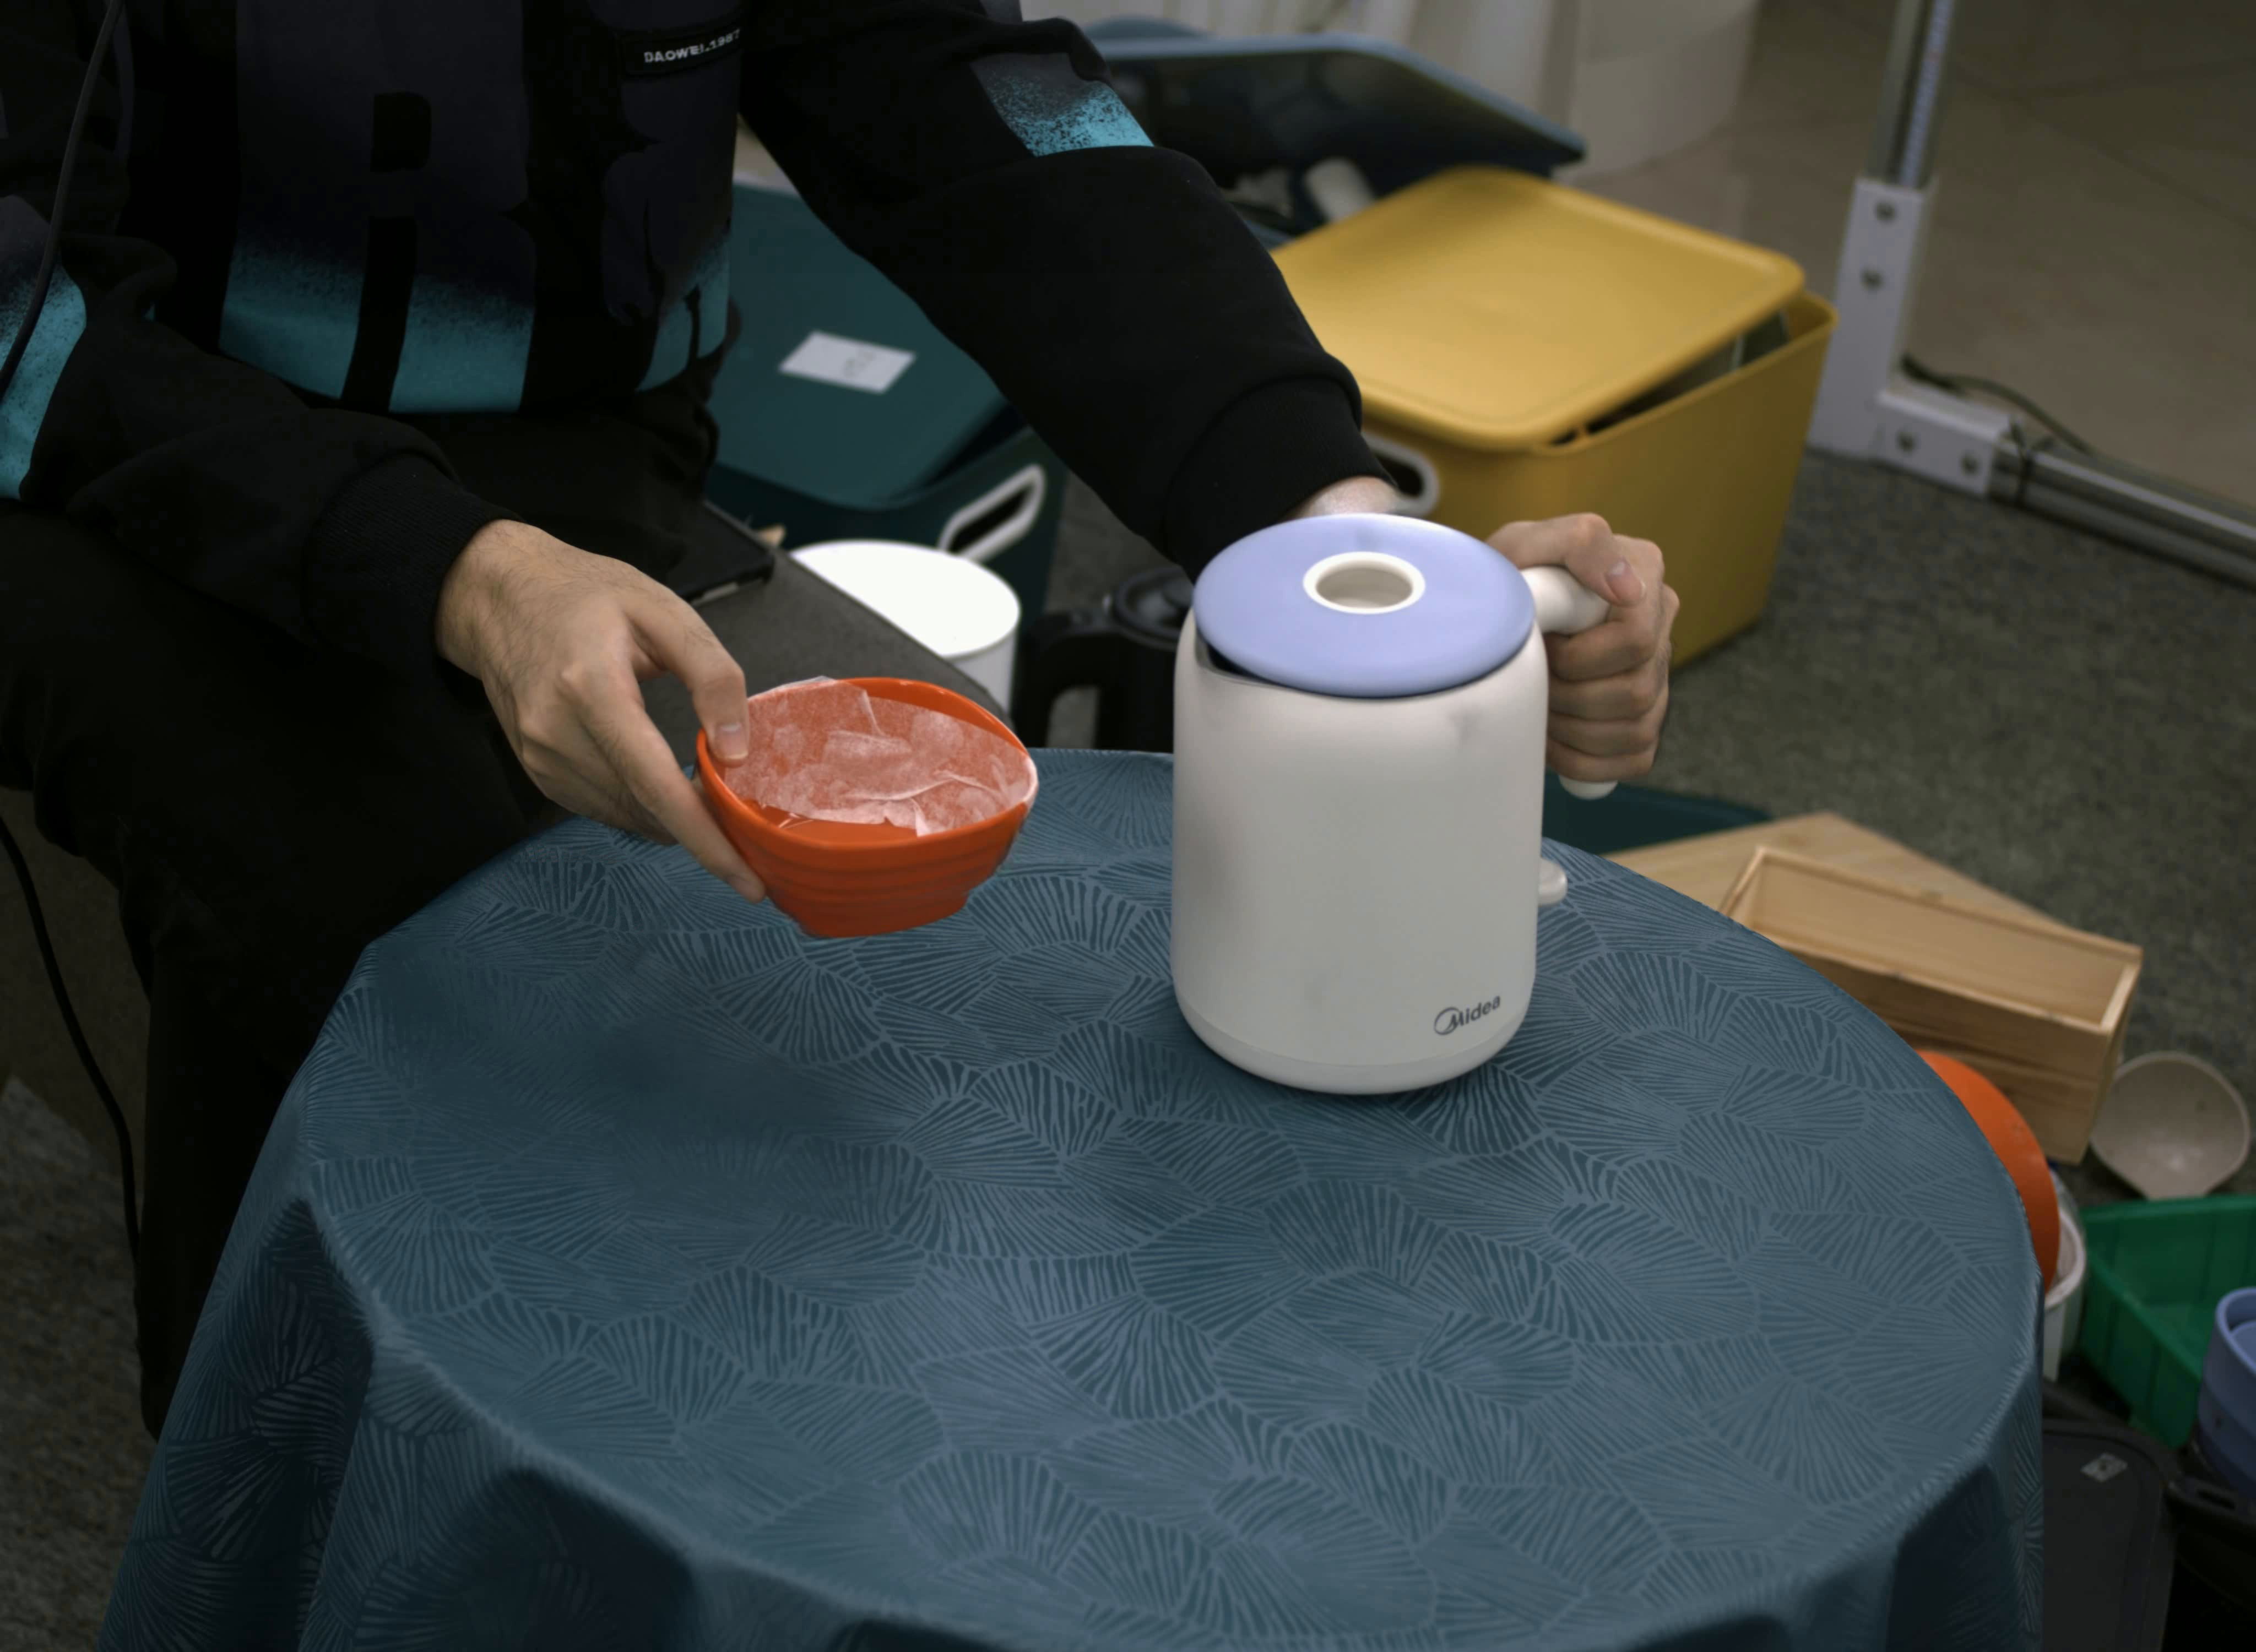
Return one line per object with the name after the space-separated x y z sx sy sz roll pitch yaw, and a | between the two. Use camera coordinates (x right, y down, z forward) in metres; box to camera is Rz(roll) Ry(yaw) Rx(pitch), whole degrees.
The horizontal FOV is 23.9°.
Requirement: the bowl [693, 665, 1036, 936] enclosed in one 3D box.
-0.090 -0.004 1.807 0.118 0.051 0.120 3 33 -2 | bowl

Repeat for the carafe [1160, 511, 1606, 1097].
0.099 -0.015 1.887 0.190 0.182 0.133 -19 38 -33 | carafe
